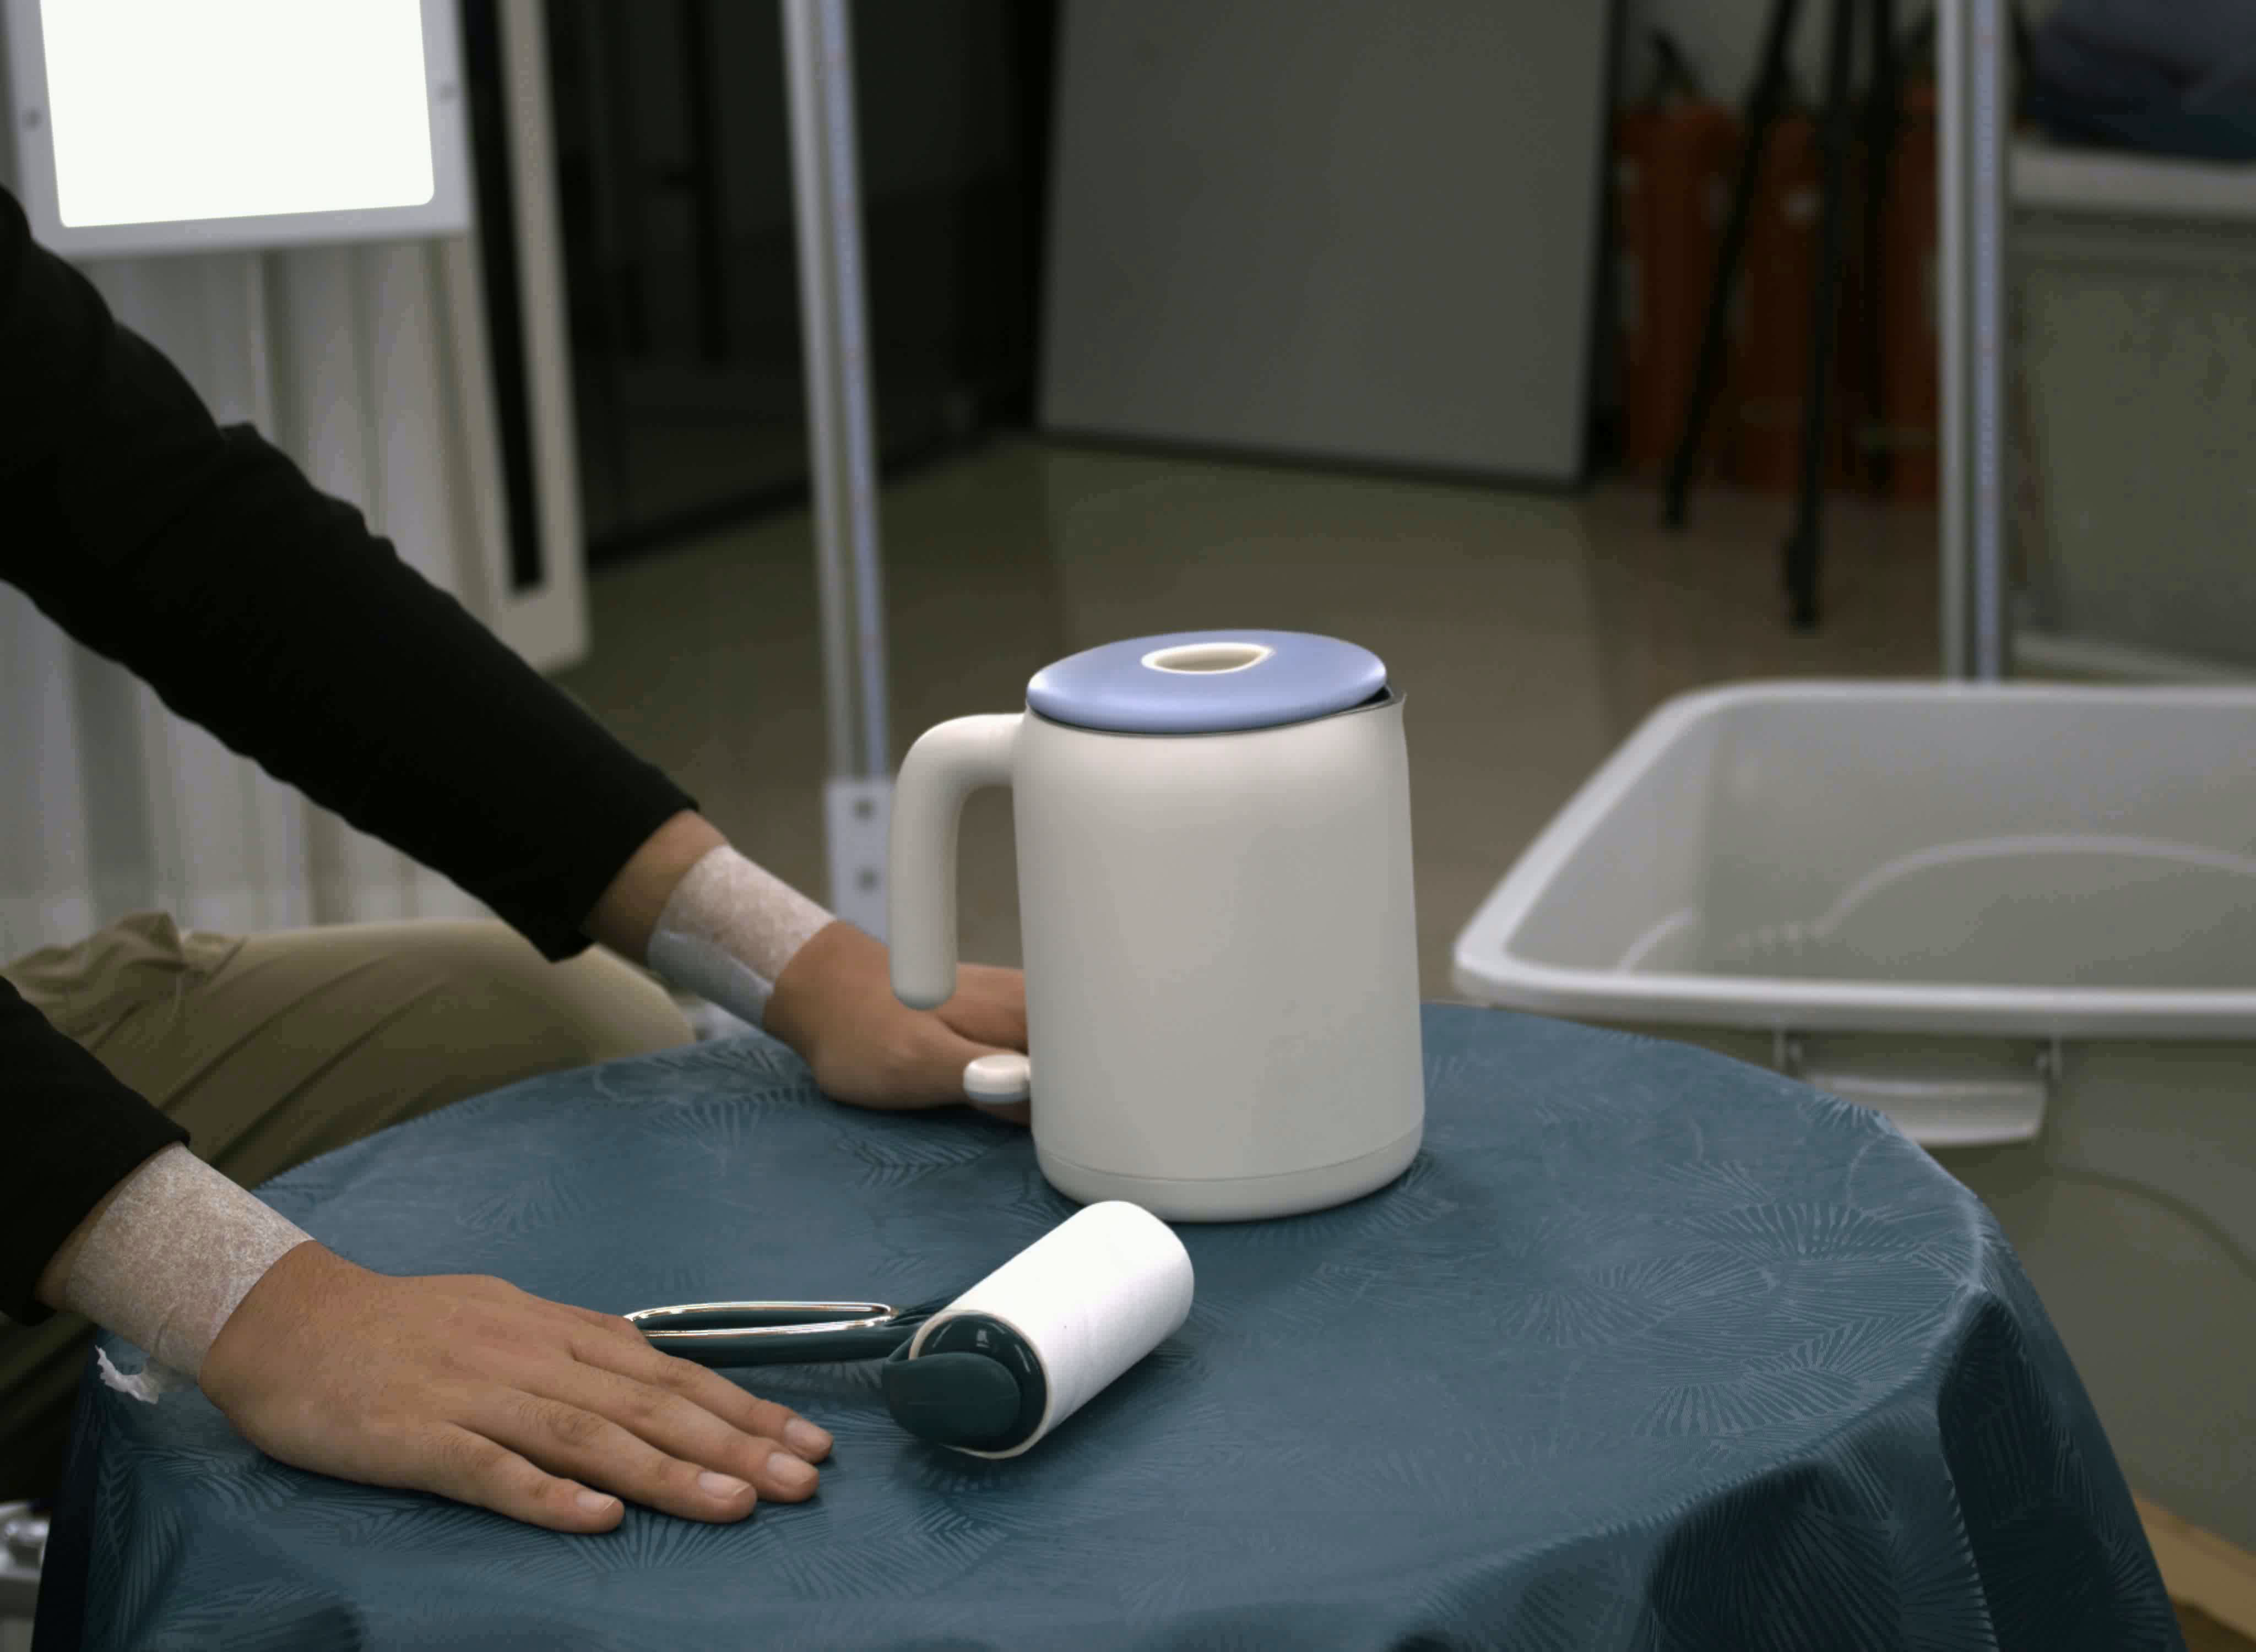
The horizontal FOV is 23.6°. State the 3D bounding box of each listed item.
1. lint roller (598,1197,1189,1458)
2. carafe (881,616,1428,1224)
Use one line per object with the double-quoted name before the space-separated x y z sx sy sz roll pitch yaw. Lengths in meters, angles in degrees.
"lint roller" -0.082 0.146 1.605 0.180 0.049 0.132 -1 14 27
"carafe" 0.007 0.030 1.775 0.191 0.184 0.131 -1 13 22
